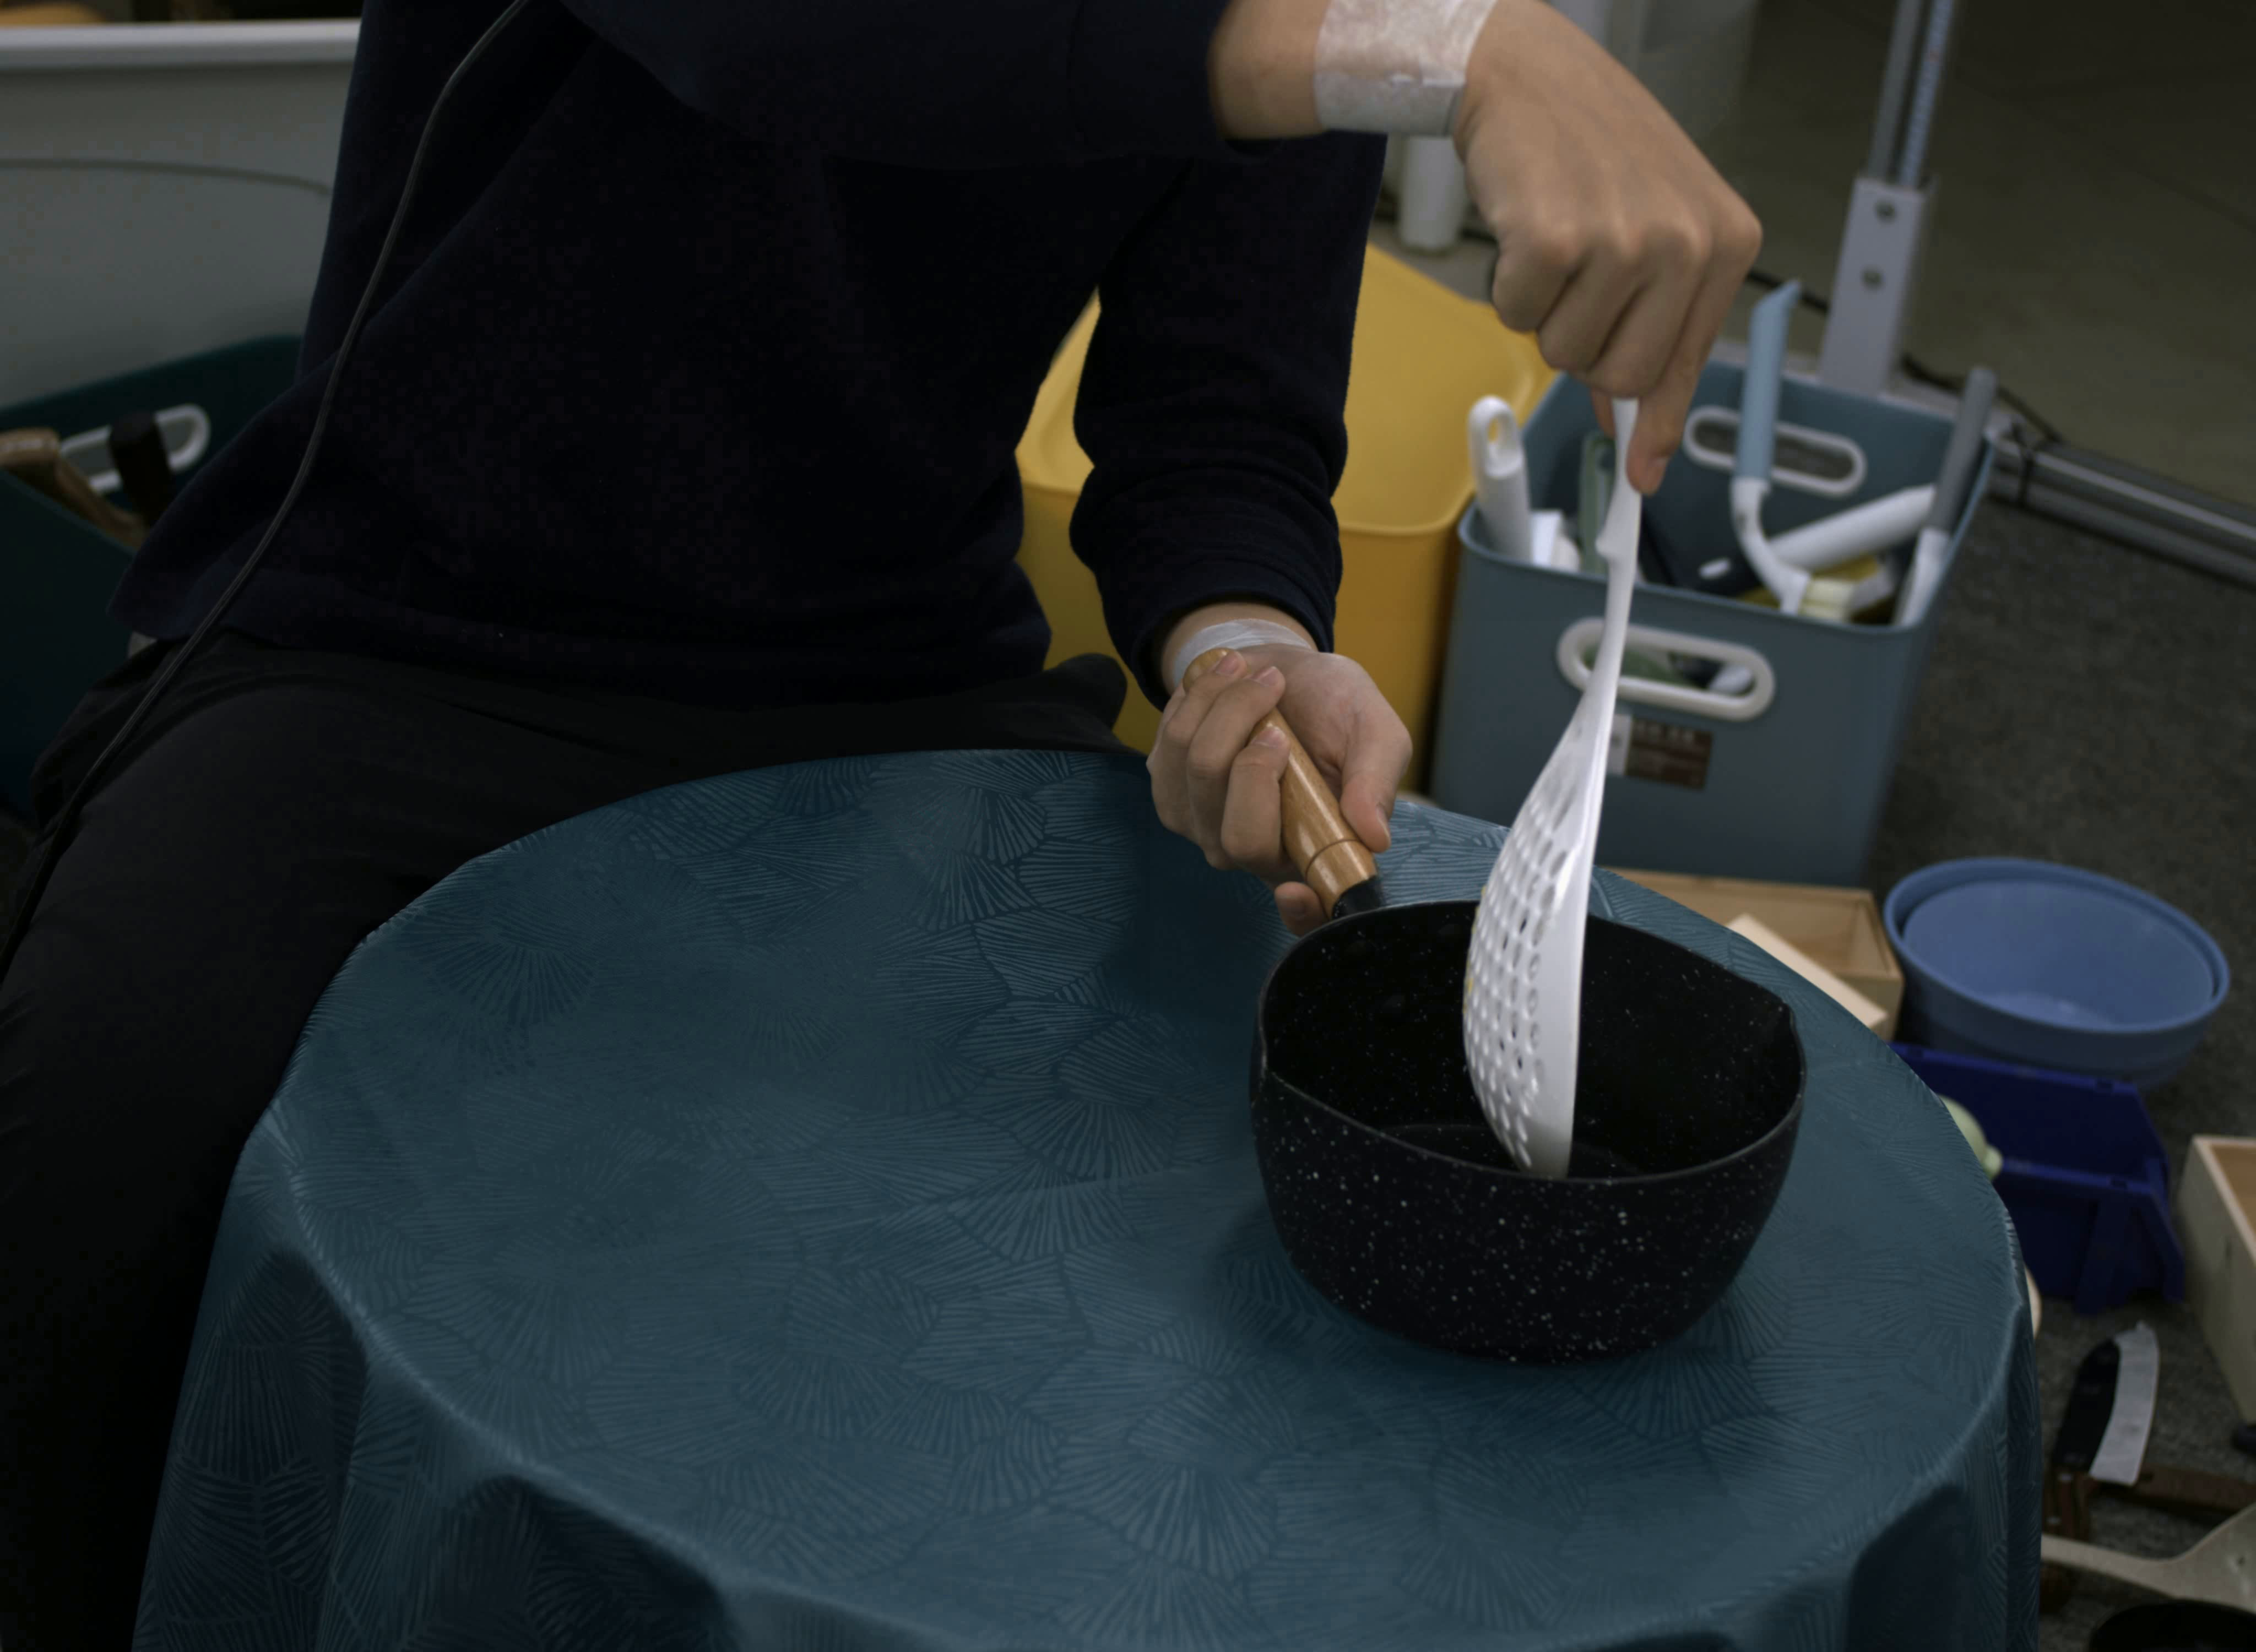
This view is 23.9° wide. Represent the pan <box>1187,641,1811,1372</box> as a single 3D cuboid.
[{"bbox_3d":[0.095,0.059,1.831,0.206,0.108,0.346,-8,32,-25],"label":"pan"}]

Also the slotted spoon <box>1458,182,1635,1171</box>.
[{"bbox_3d":[0.144,-0.044,1.726,0.050,0.347,0.137,9,26,2],"label":"slotted spoon"}]
